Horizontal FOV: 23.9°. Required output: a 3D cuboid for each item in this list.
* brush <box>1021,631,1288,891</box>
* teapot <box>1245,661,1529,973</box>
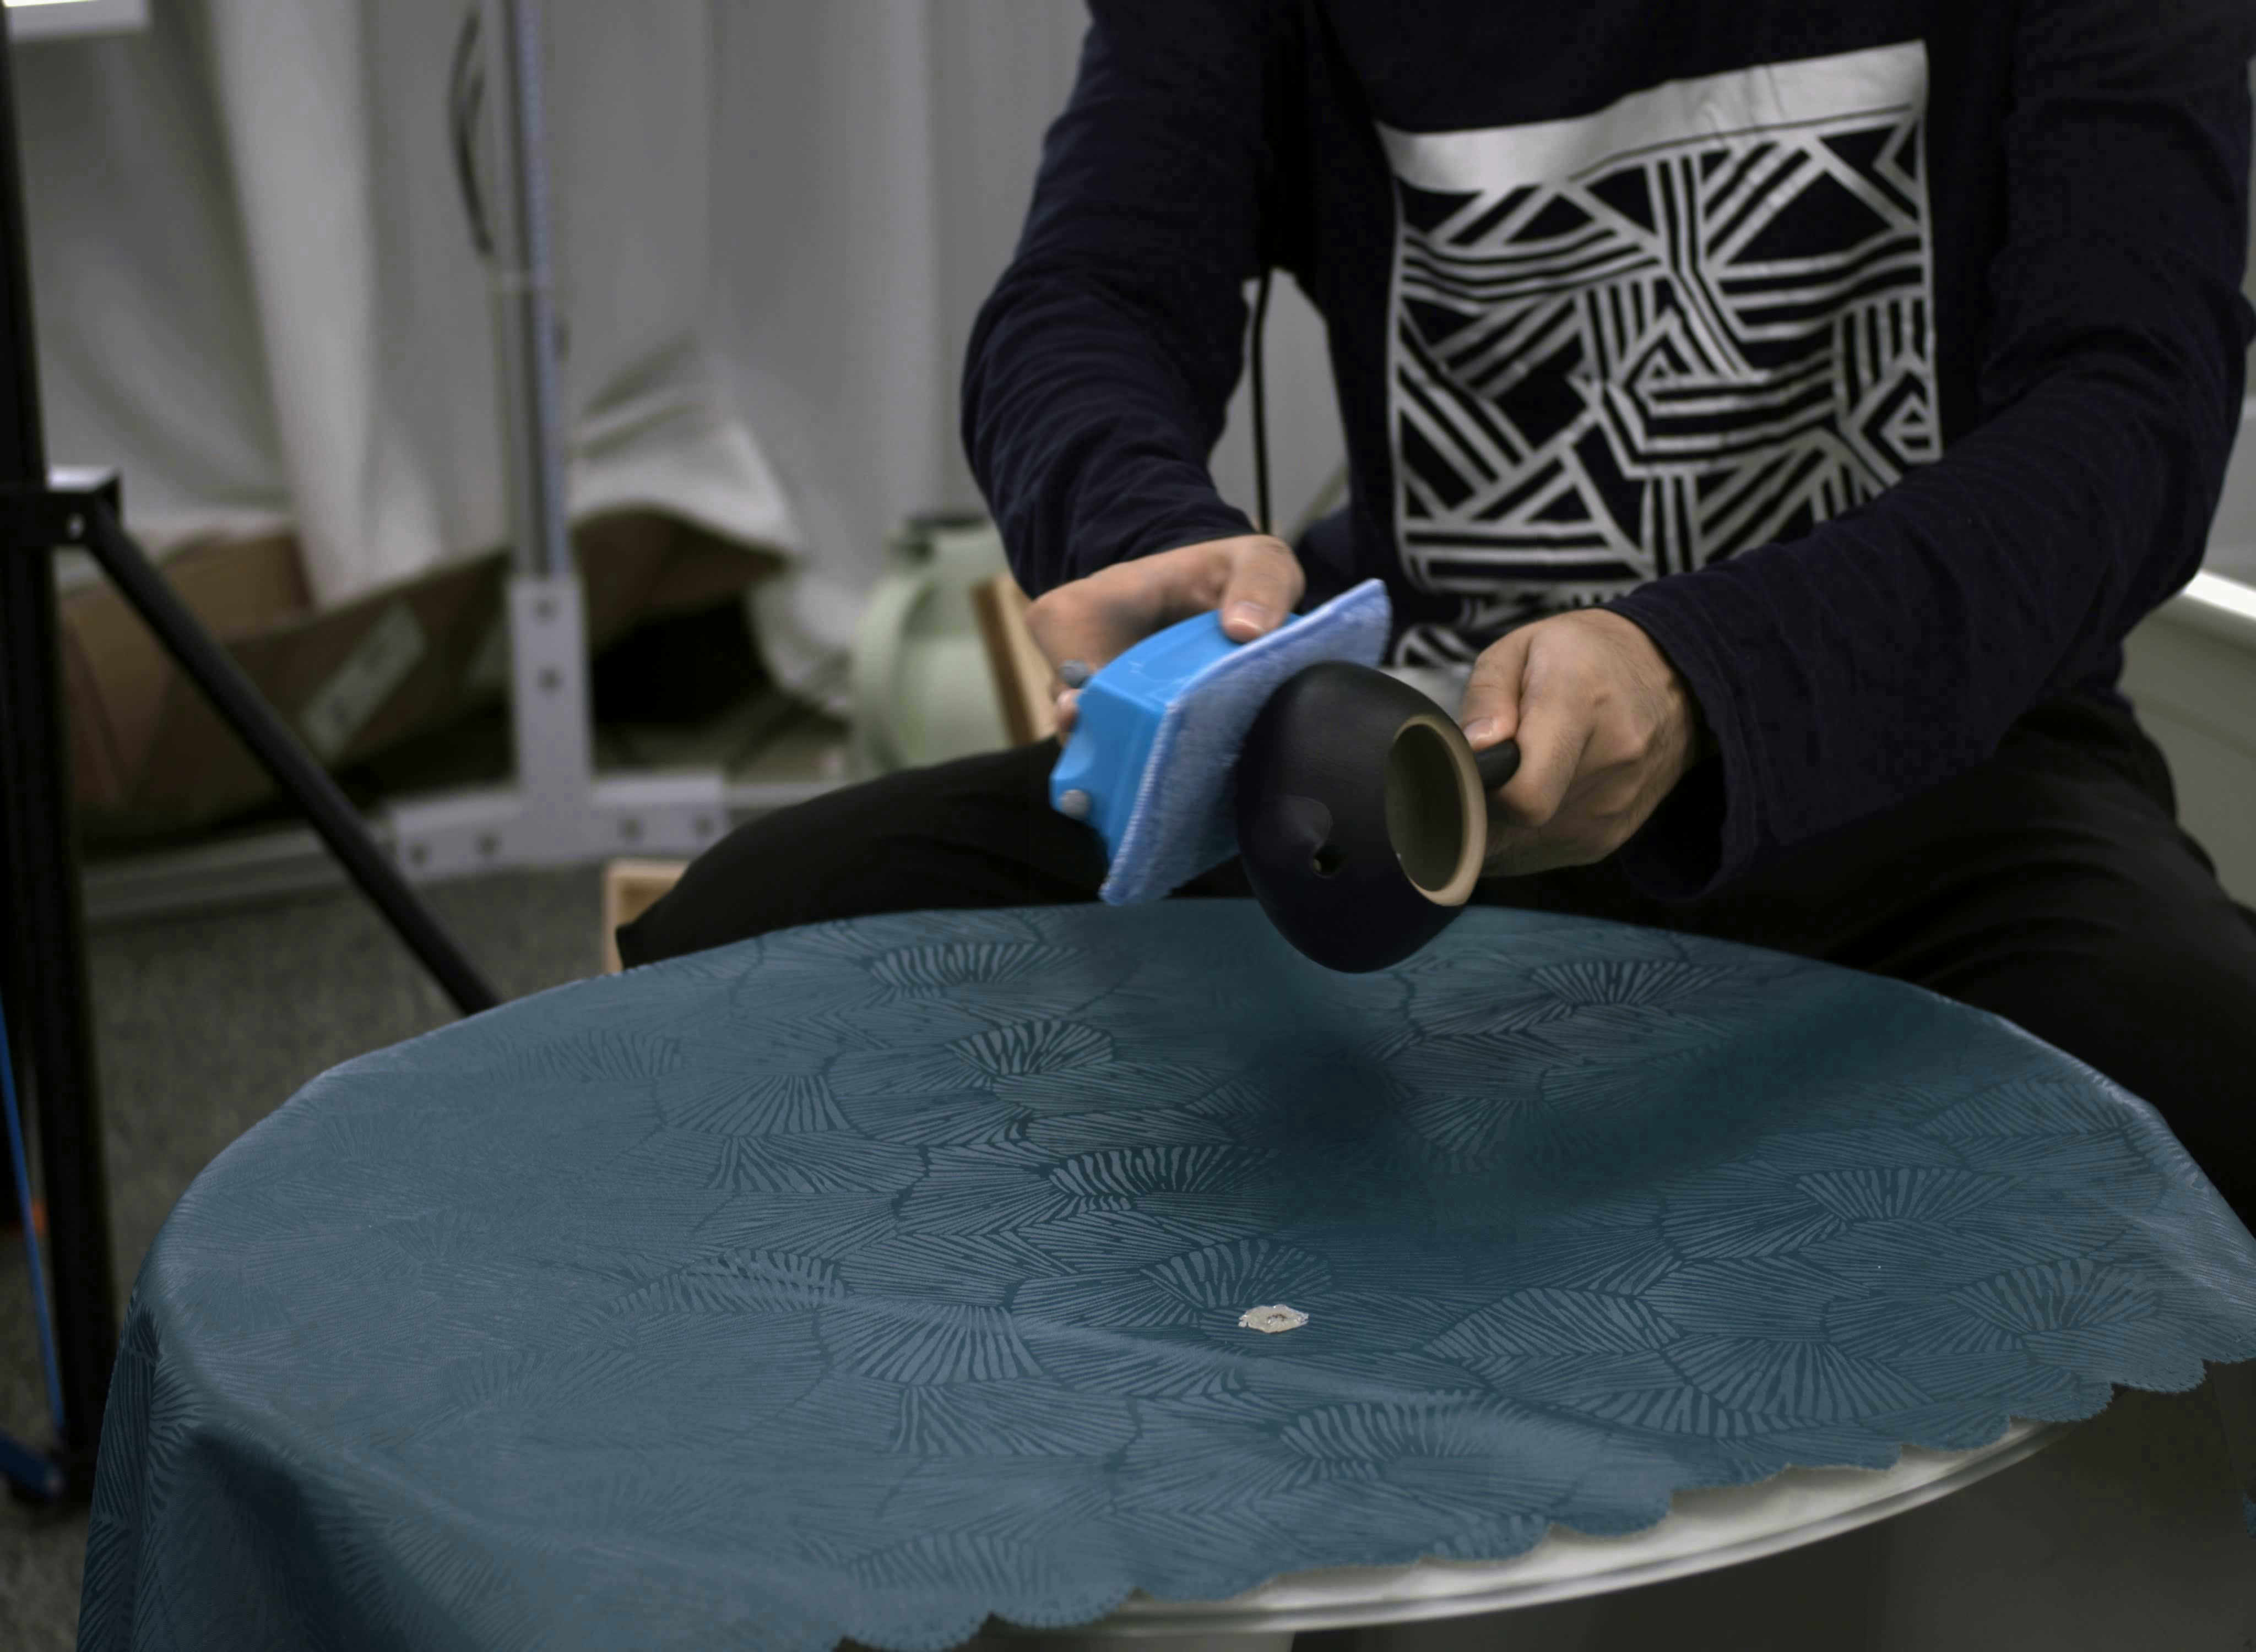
[{"bbox_3d":[0.002,-0.024,1.585,0.056,0.084,0.143,35,7,6],"label":"brush"},{"bbox_3d":[0.070,-0.003,1.544,0.054,0.091,0.130,-8,10,35],"label":"teapot"}]
